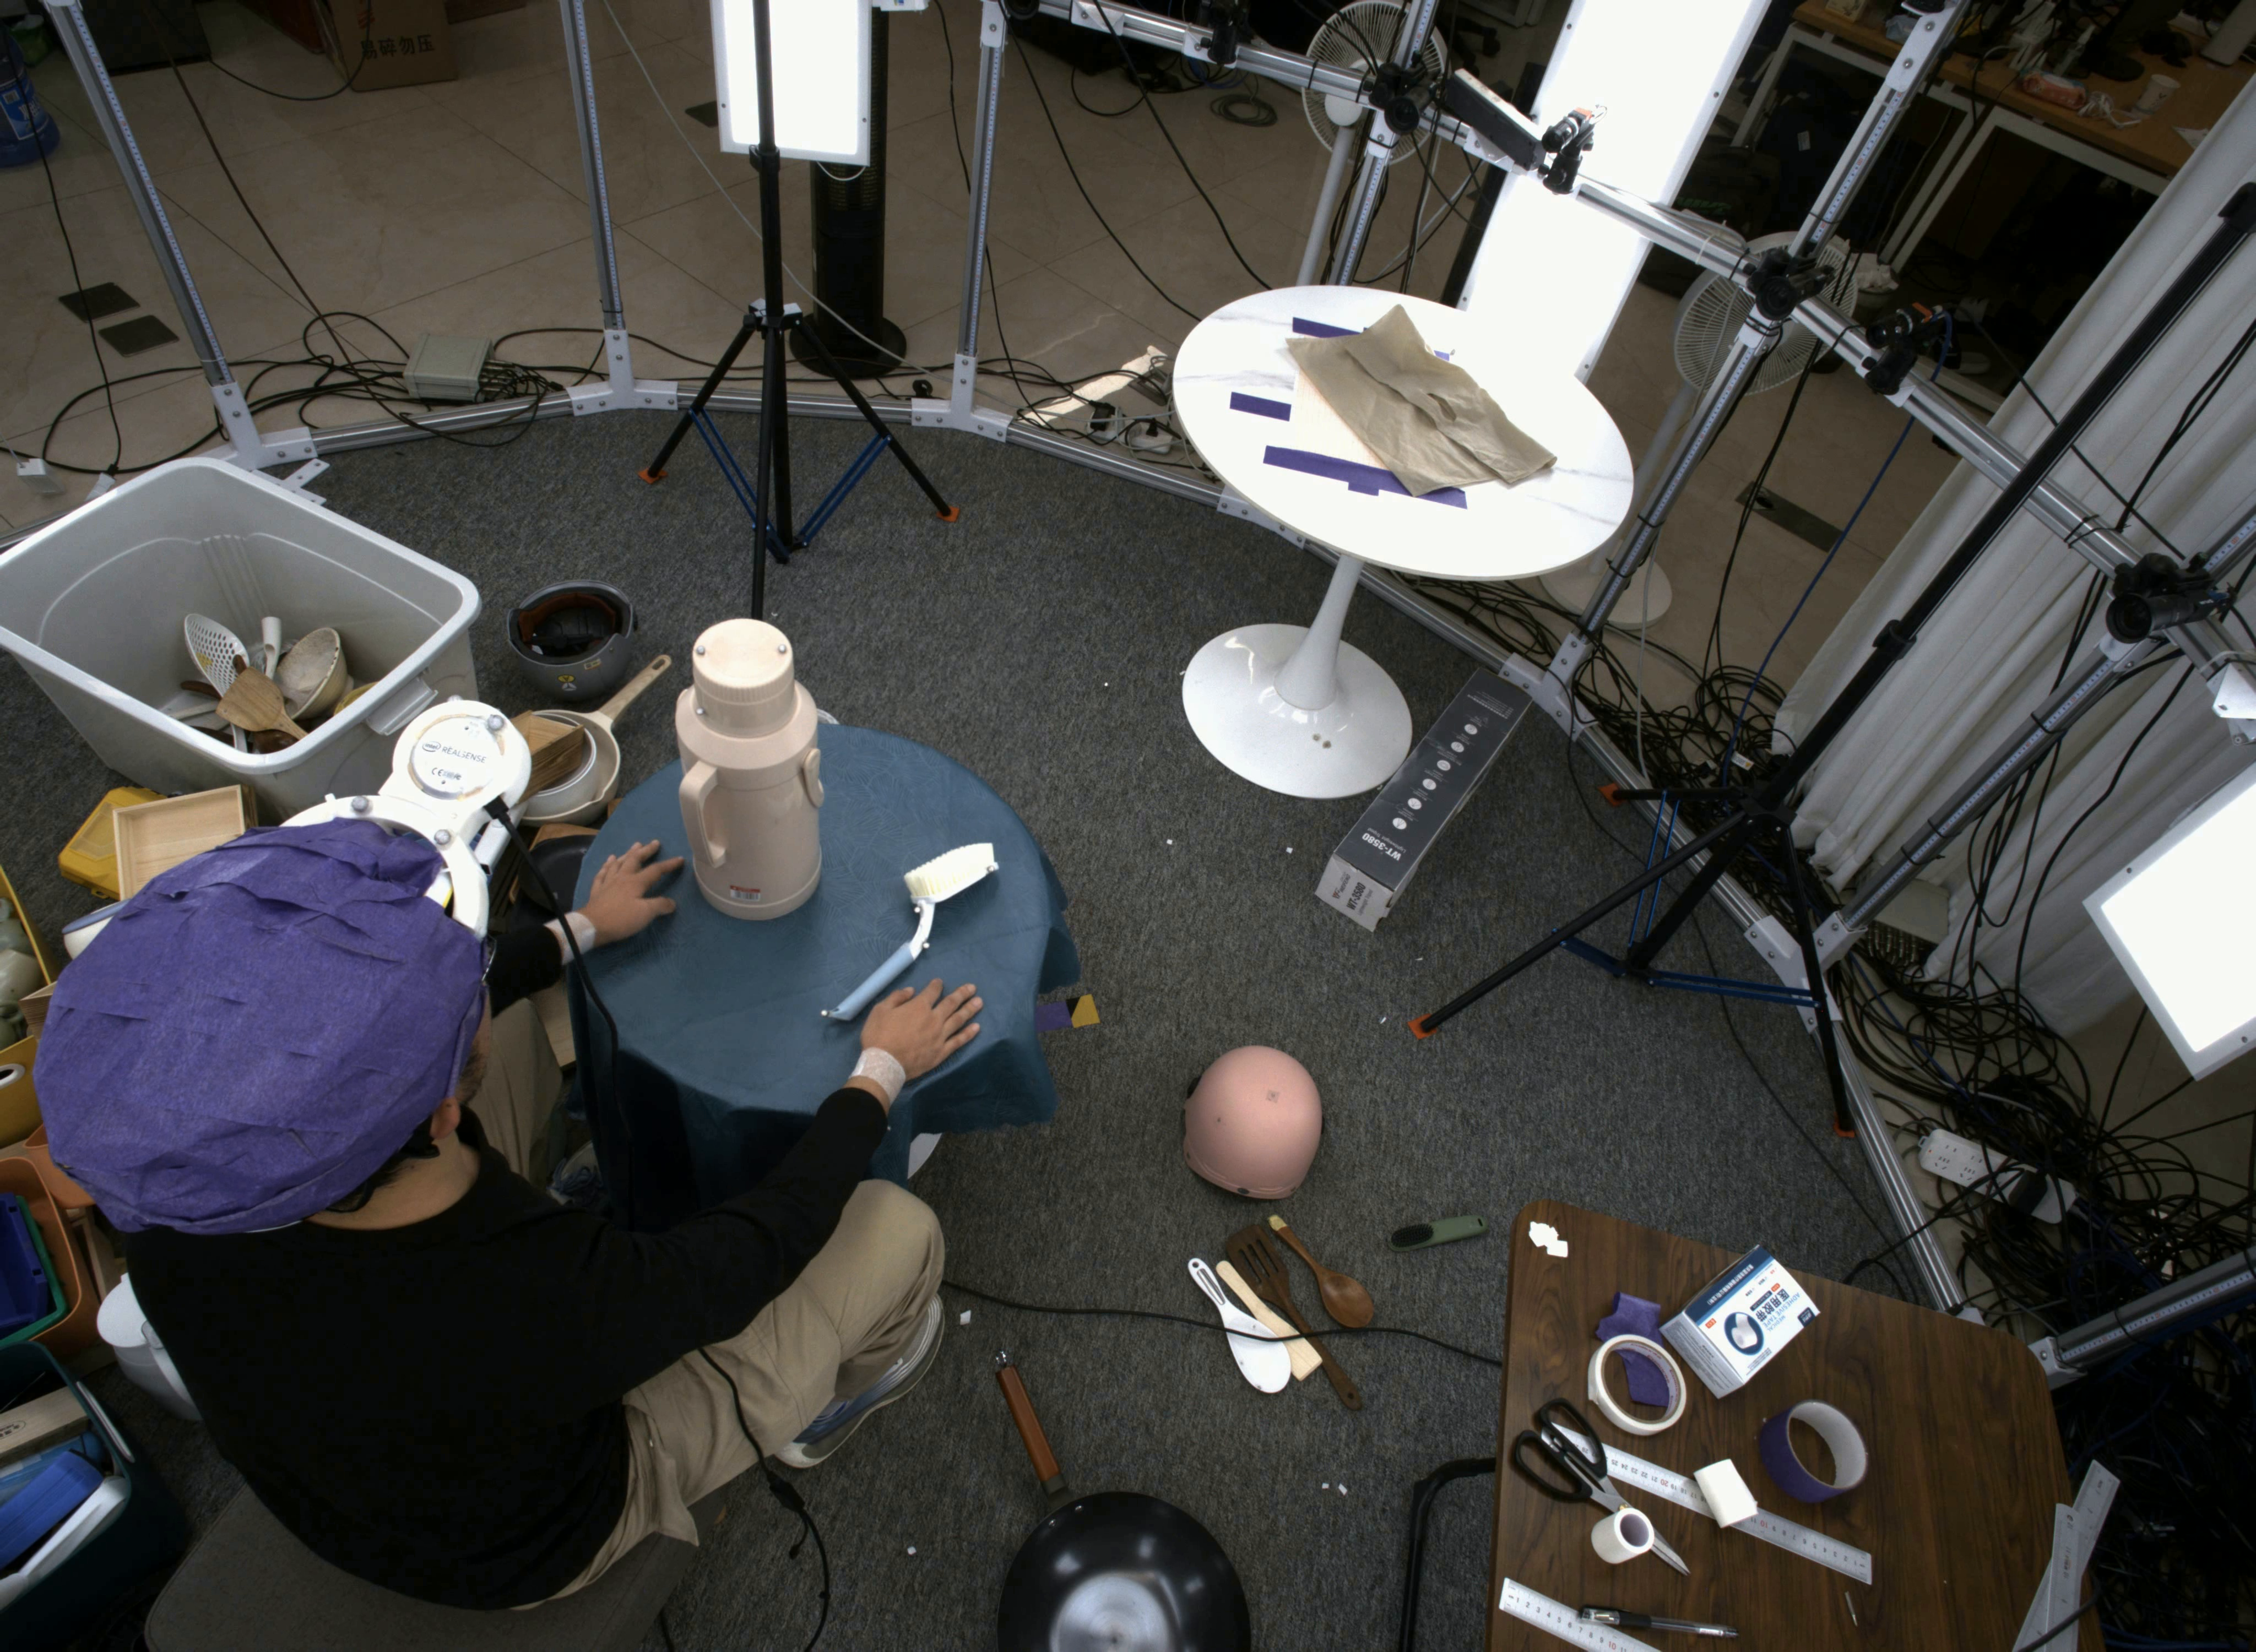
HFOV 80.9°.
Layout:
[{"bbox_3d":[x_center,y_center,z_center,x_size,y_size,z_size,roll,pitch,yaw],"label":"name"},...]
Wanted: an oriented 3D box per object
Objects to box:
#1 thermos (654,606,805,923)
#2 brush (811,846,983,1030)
[{"bbox_3d":[-0.468,-0.058,1.493,0.173,0.414,0.205,23,51,5],"label":"thermos"},{"bbox_3d":[-0.294,0.116,1.614,0.083,0.084,0.325,37,52,8],"label":"brush"}]
